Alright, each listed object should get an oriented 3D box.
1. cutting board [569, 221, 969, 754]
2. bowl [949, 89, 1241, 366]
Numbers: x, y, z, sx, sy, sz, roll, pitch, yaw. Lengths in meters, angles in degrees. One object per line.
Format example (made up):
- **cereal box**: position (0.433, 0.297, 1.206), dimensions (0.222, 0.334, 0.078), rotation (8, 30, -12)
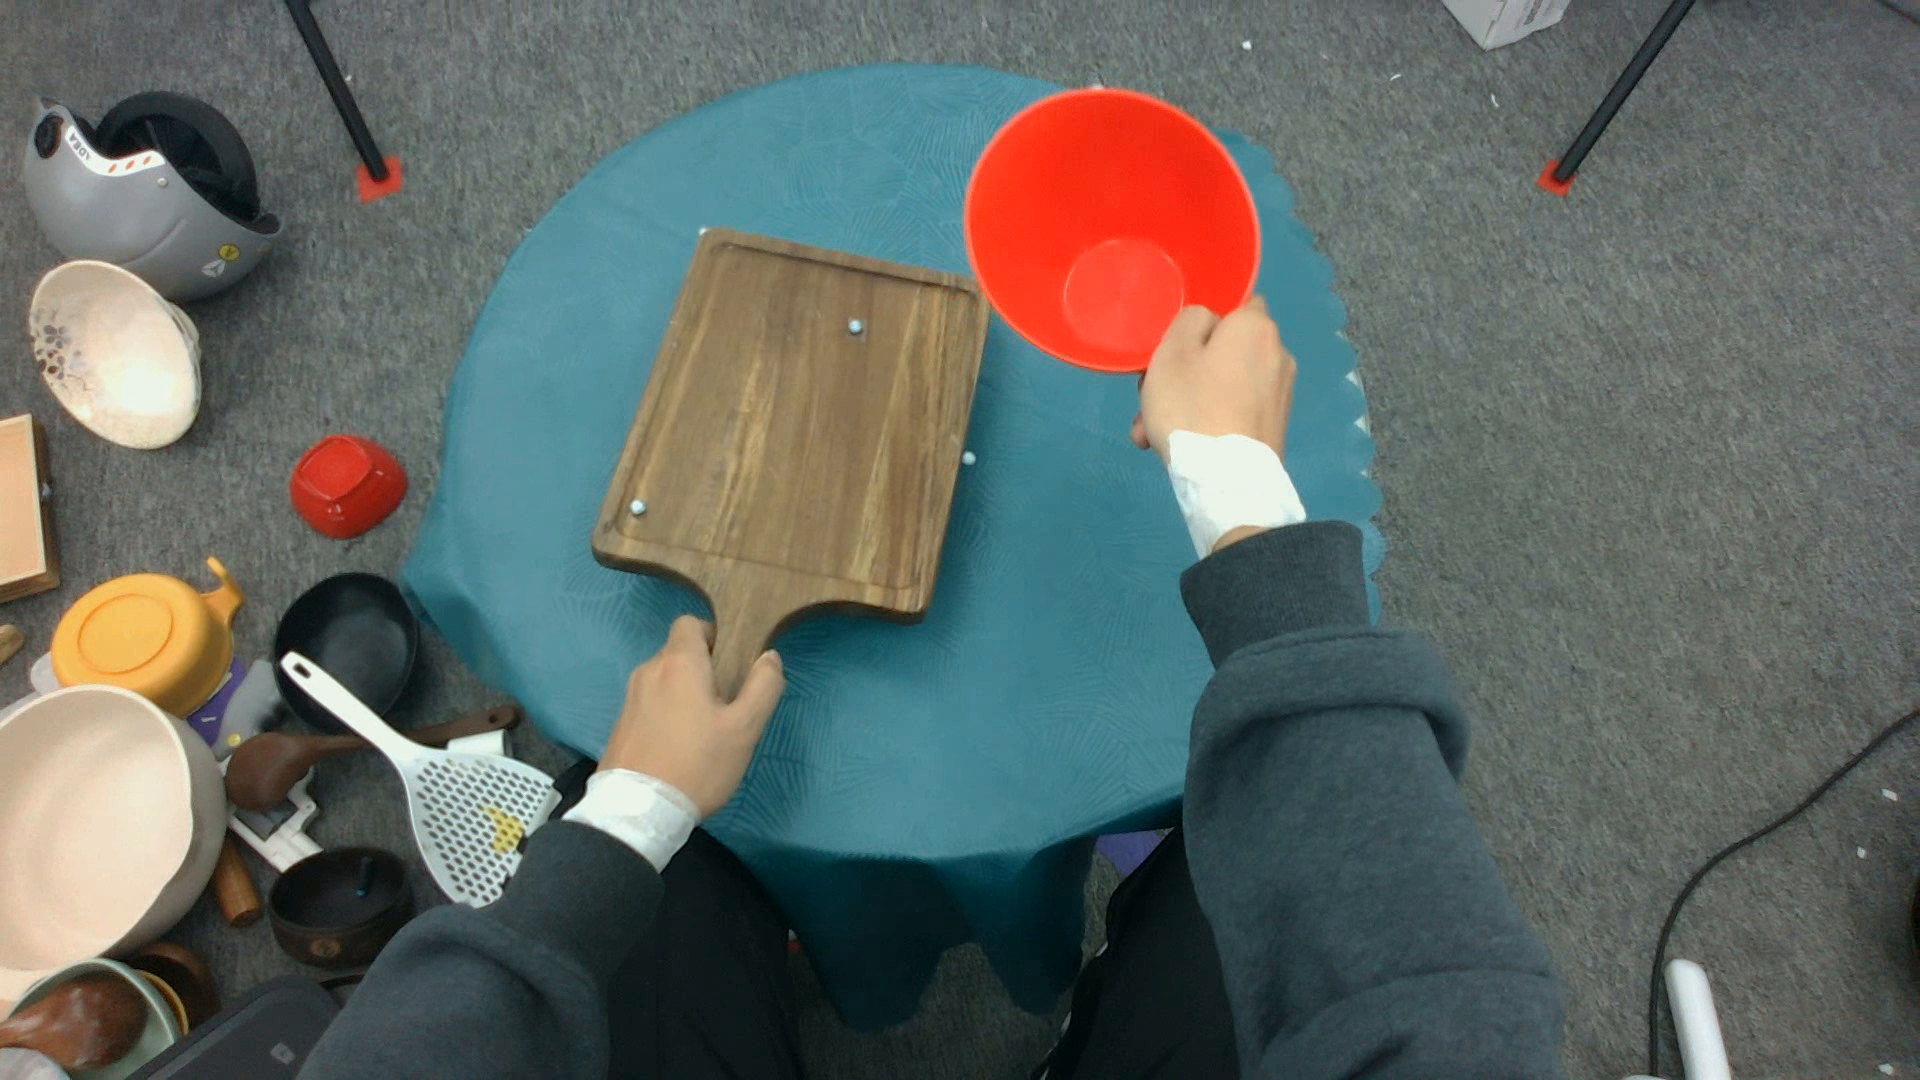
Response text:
- **cutting board**: position (-0.114, -0.041, 0.813), dimensions (0.201, 0.023, 0.353), rotation (10, 59, -1)
- **bowl**: position (0.070, -0.151, 0.728), dimensions (0.148, 0.104, 0.148), rotation (0, 77, 1)
